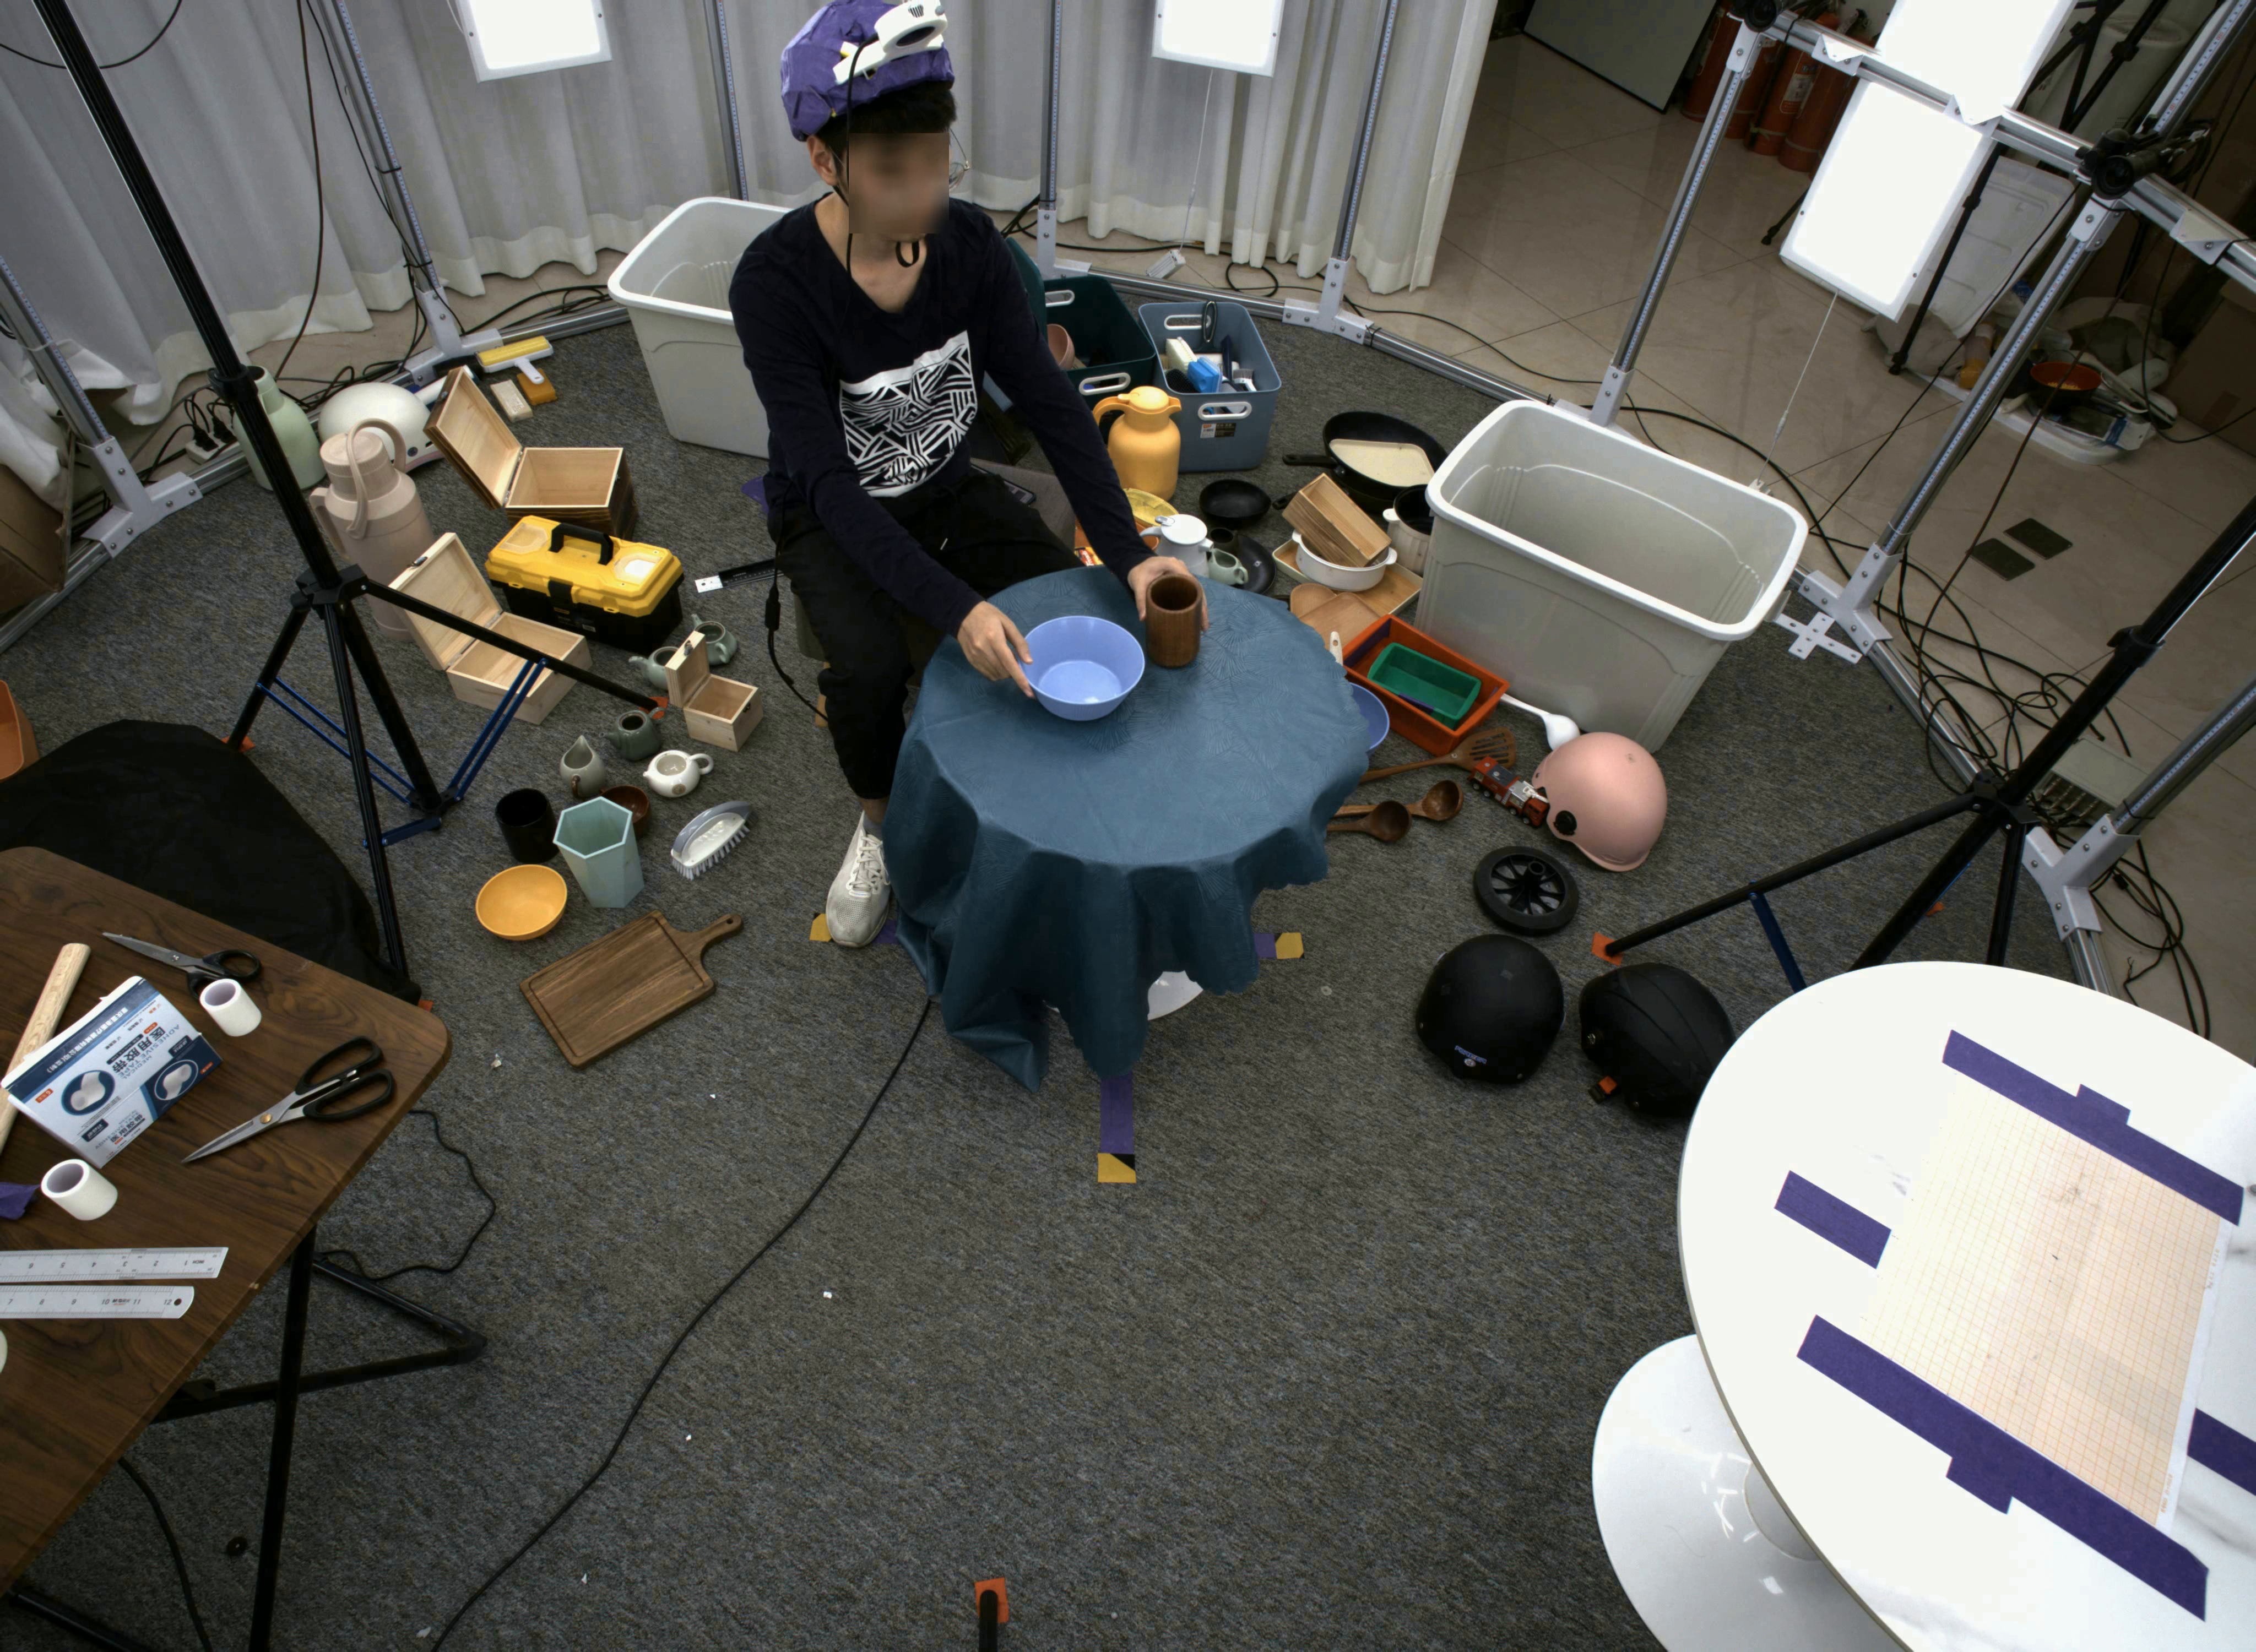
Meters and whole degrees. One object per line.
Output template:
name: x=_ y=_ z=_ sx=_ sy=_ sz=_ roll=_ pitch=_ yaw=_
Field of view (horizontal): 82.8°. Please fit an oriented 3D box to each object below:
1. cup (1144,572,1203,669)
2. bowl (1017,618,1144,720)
cup: x=0.065 y=-0.293 z=1.839 sx=0.087 sy=0.115 sz=0.090 roll=-1 pitch=51 yaw=1
bowl: x=-0.068 y=-0.211 z=1.802 sx=0.176 sy=0.068 sz=0.180 roll=2 pitch=48 yaw=-2
